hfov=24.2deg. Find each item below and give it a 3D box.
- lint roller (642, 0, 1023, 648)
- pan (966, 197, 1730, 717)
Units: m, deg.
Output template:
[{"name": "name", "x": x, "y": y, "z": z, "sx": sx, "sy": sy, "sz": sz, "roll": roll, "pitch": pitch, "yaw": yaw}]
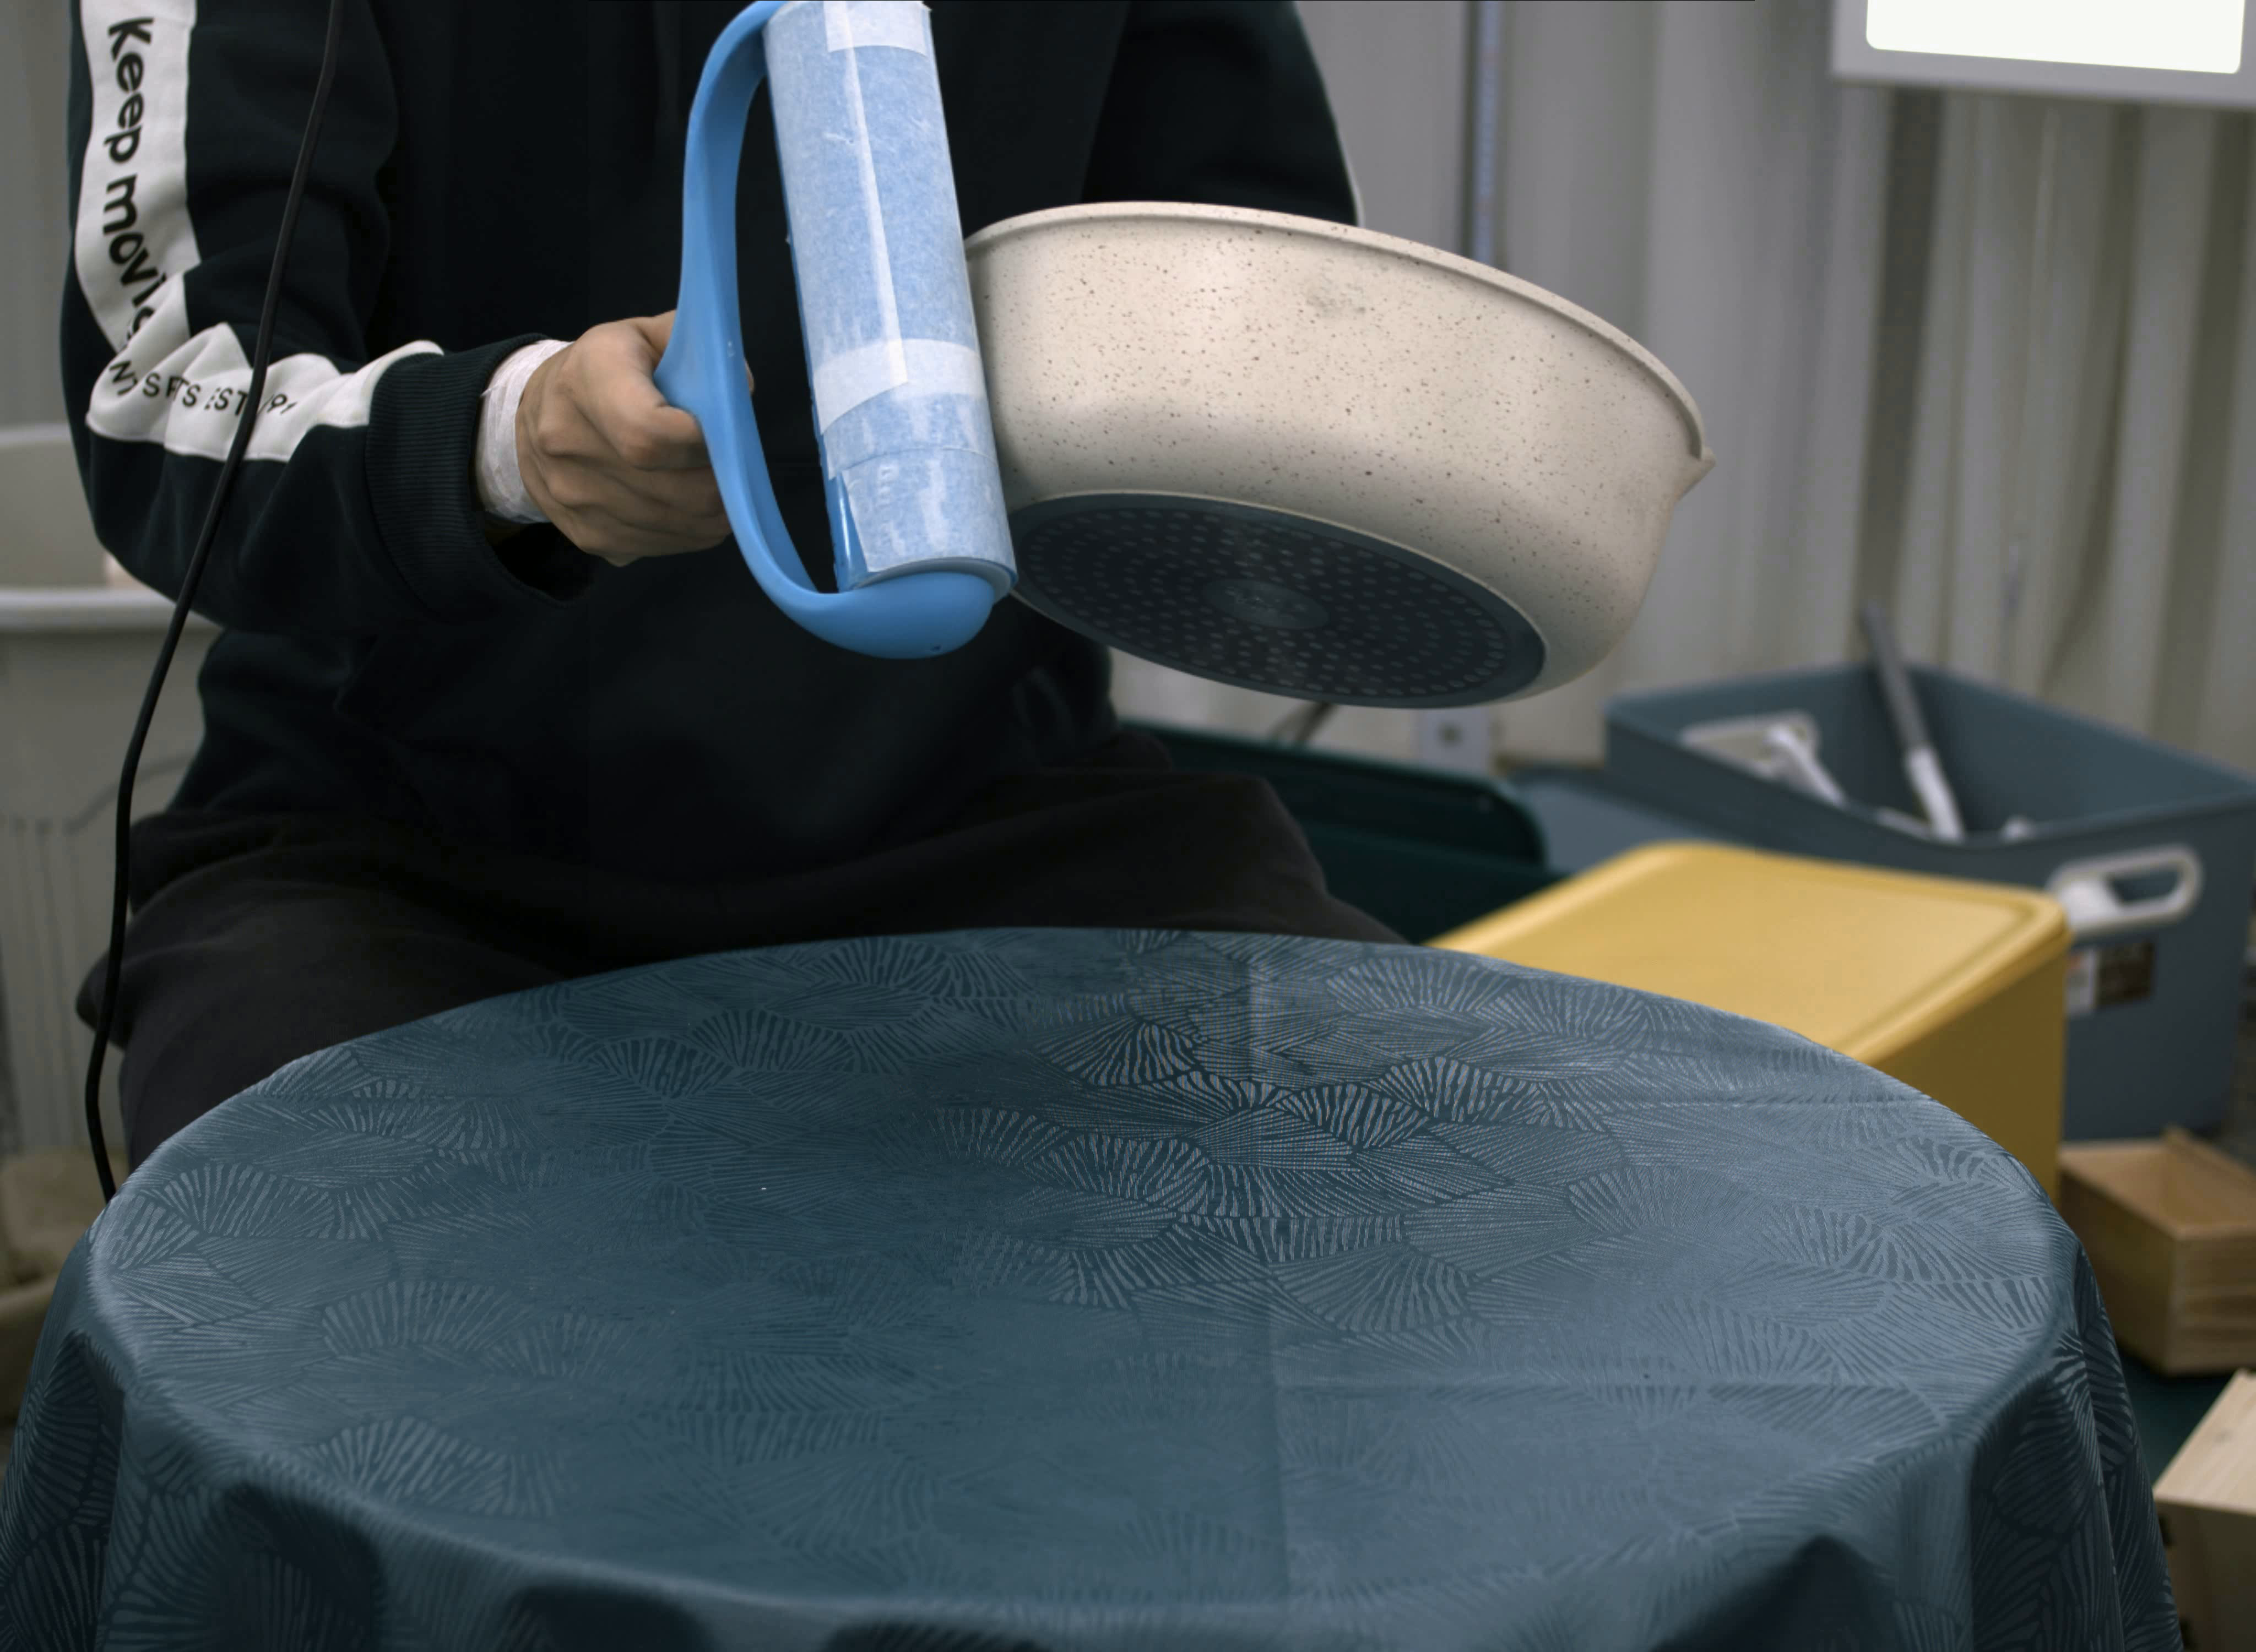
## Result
[{"name": "lint roller", "x": -0.112, "y": -0.139, "z": 1.643, "sx": 0.068, "sy": 0.228, "sz": 0.179, "roll": 8, "pitch": -28, "yaw": -43}, {"name": "pan", "x": 0.051, "y": -0.090, "z": 1.762, "sx": 0.263, "sy": 0.102, "sz": 0.436, "roll": 12, "pitch": -16, "yaw": -3}]
